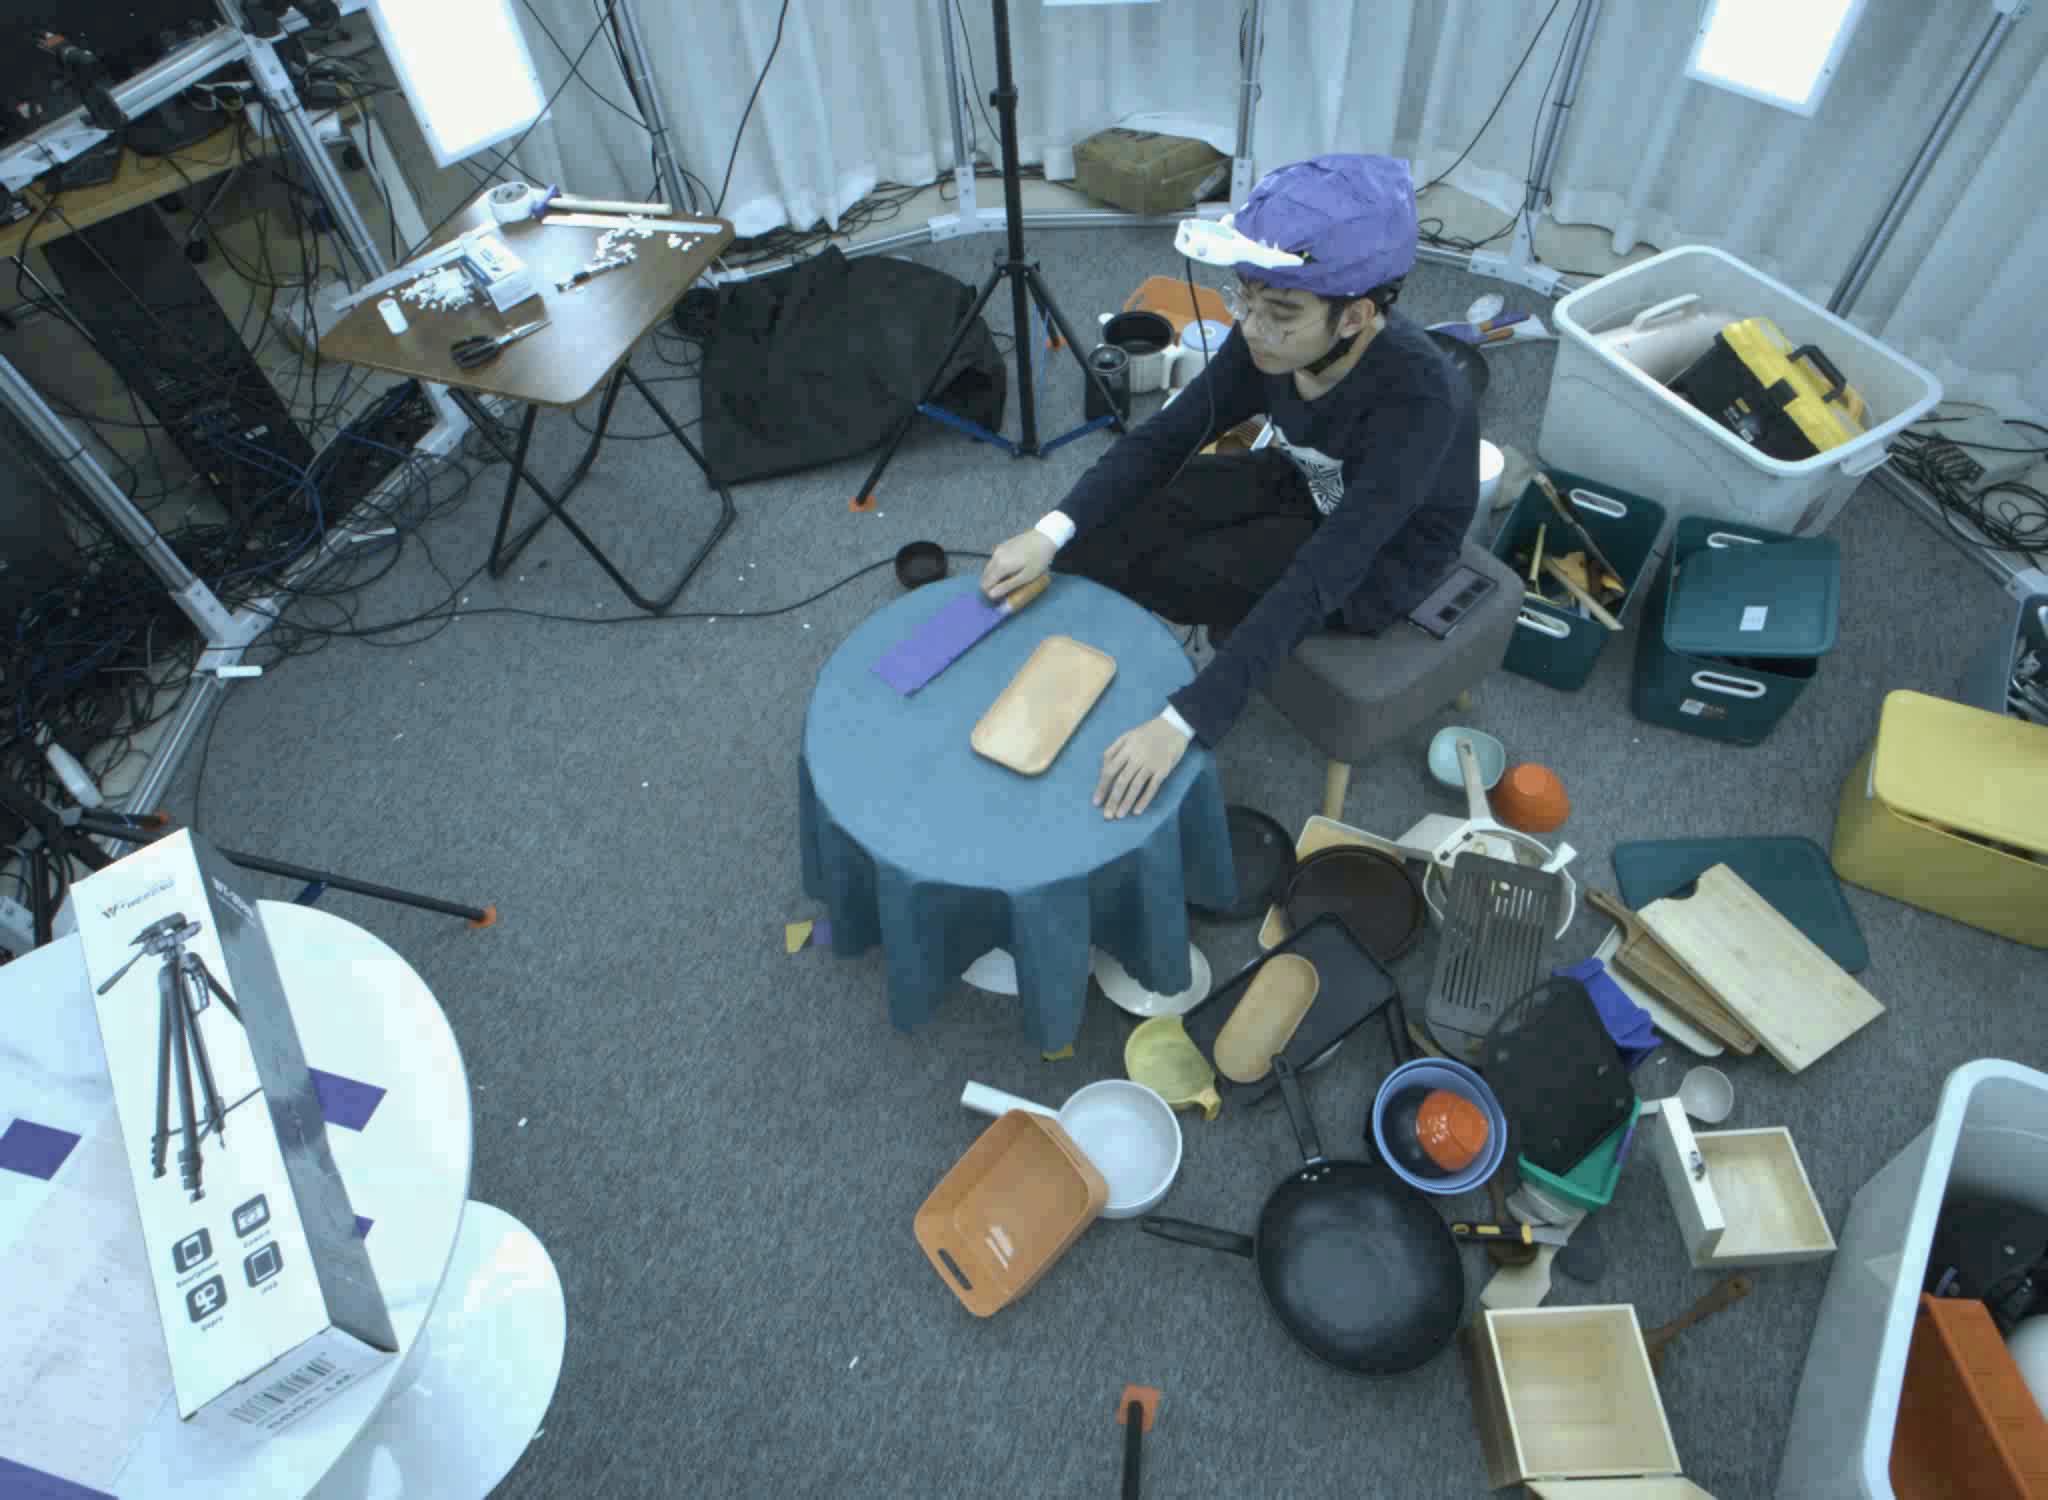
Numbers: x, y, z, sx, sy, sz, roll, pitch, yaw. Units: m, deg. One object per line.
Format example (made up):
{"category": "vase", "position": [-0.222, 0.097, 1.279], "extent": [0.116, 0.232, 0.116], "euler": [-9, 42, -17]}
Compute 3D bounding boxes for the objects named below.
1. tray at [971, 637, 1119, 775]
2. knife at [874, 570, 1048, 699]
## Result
{"category": "tray", "position": [0.033, -0.068, 1.833], "extent": [0.129, 0.023, 0.252], "euler": [29, 59, 18]}
{"category": "knife", "position": [-0.100, -0.200, 1.924], "extent": [0.102, 0.032, 0.317], "euler": [37, 64, 24]}
